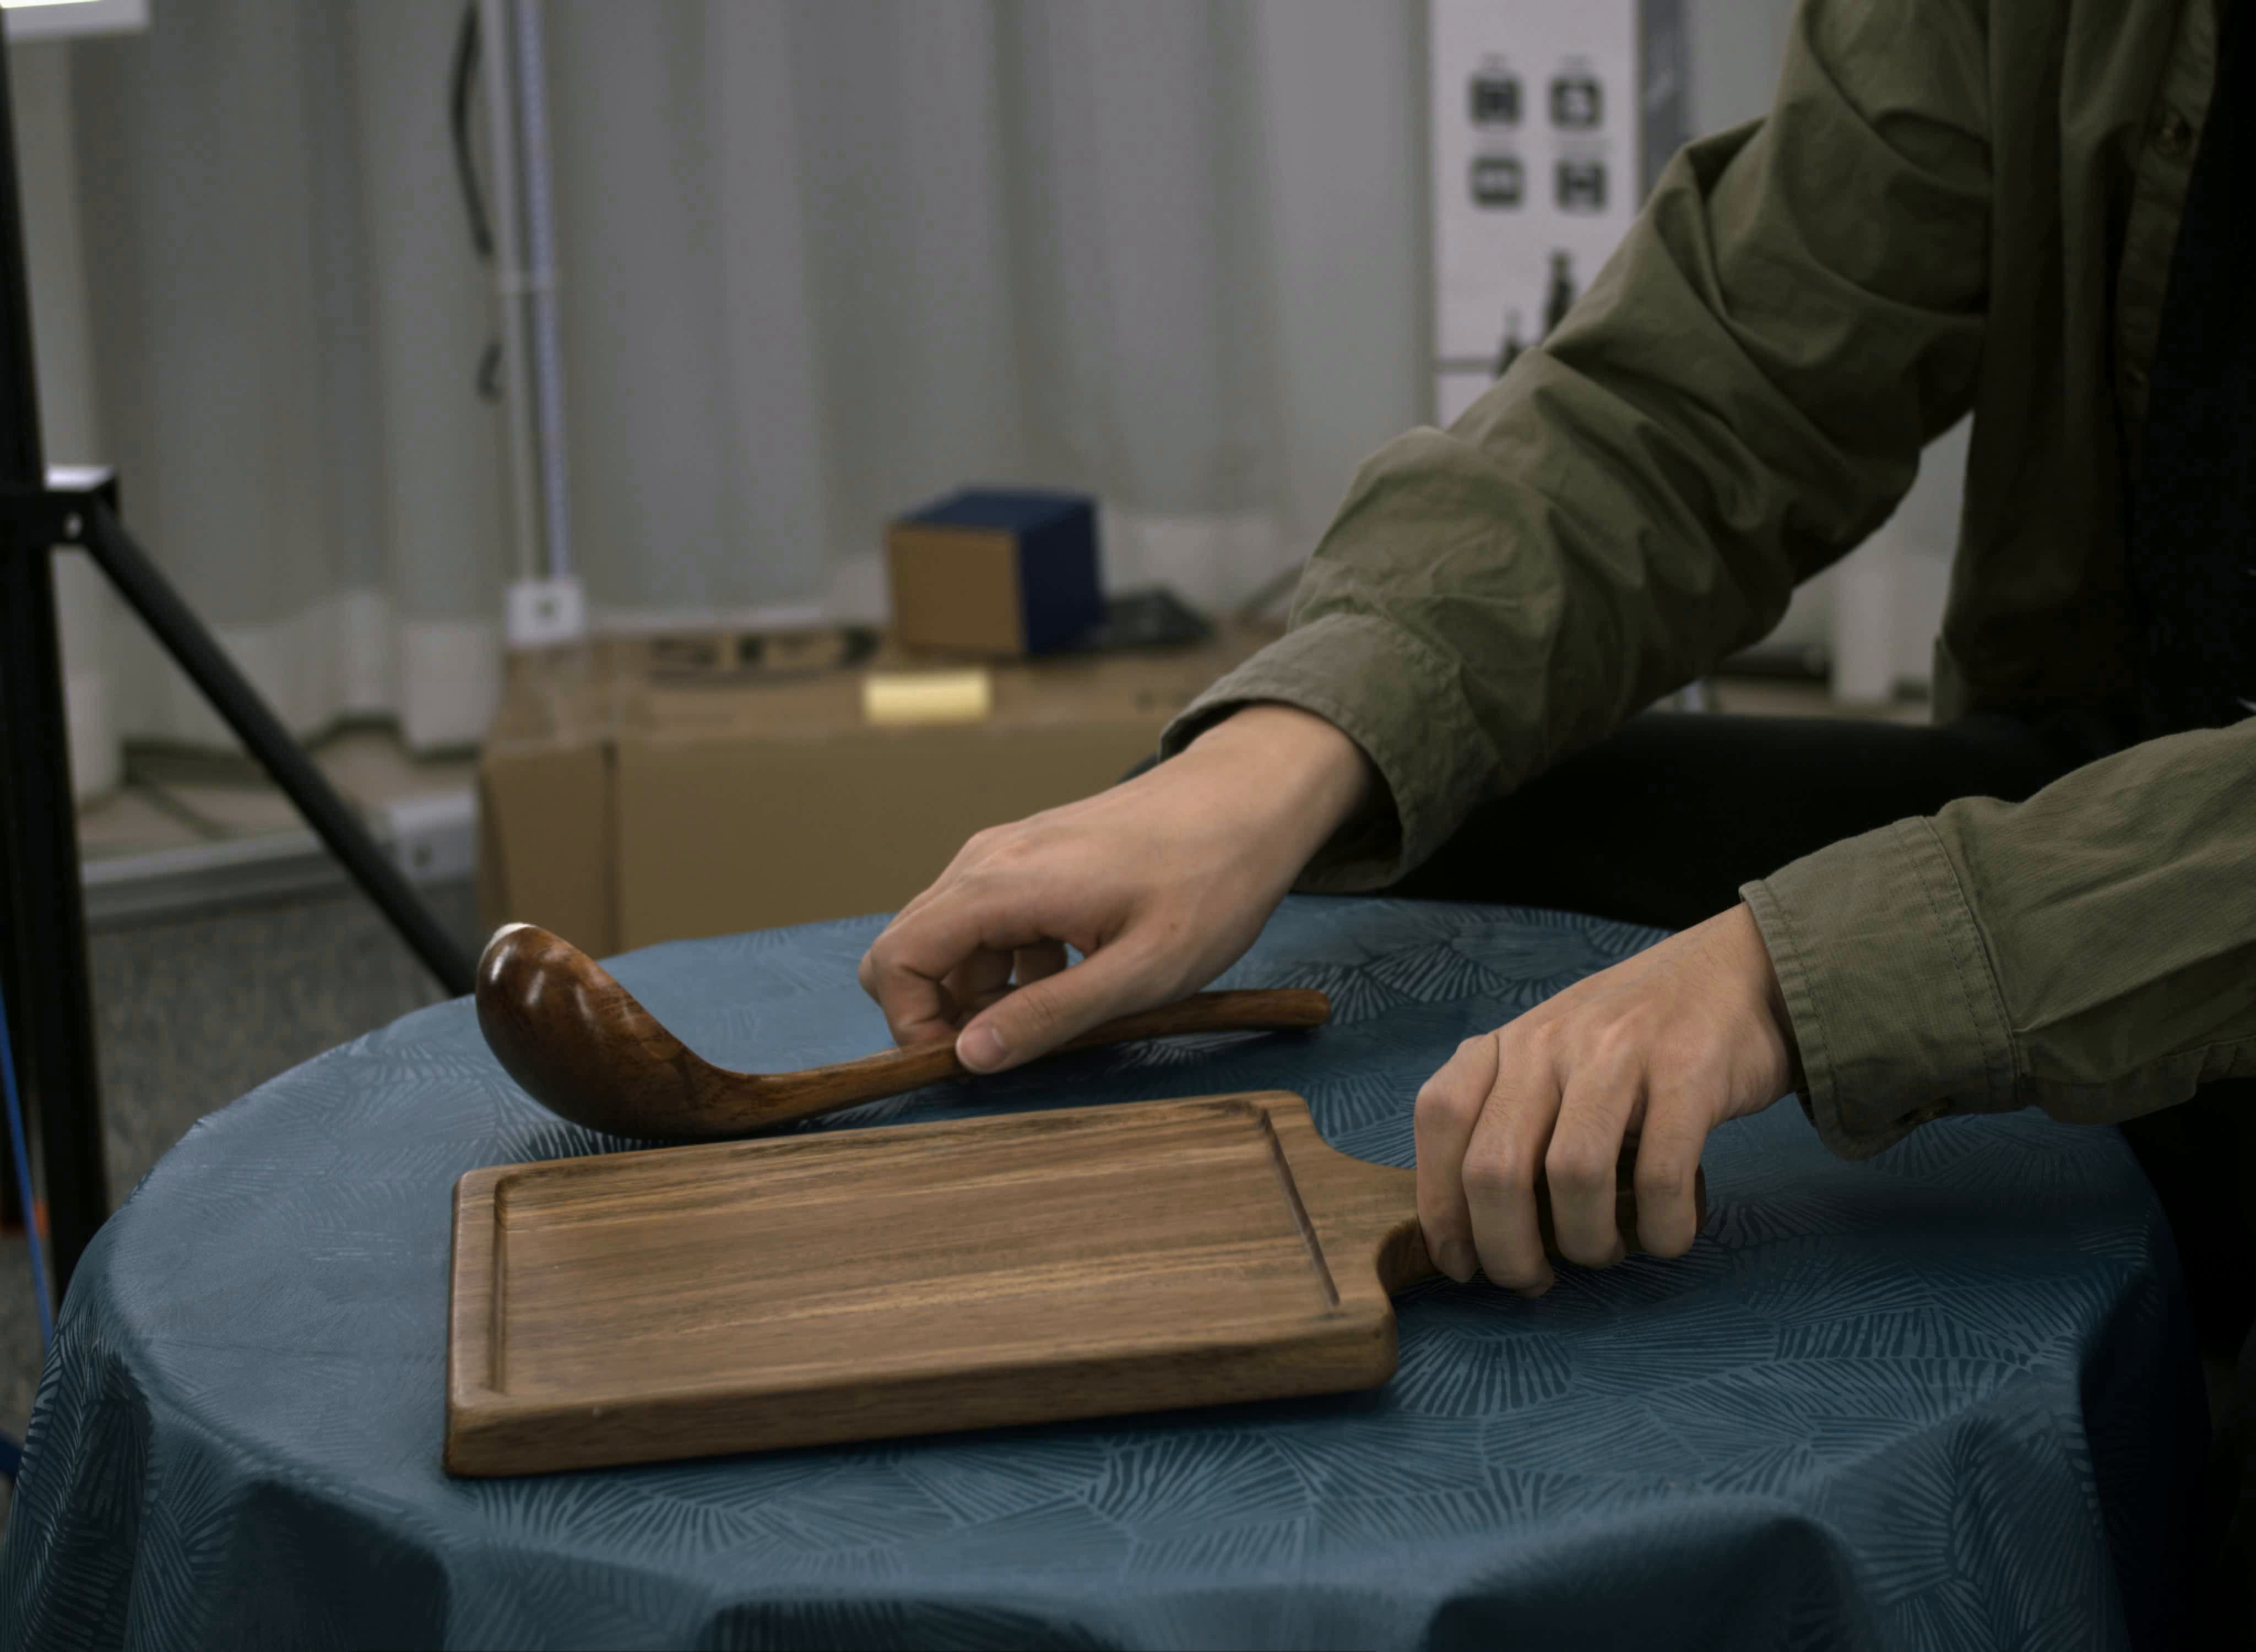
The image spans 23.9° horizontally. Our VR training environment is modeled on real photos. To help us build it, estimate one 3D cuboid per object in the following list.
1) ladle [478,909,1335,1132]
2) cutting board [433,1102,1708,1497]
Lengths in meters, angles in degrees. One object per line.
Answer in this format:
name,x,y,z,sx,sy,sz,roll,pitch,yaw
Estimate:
ladle,-0.067,0.046,1.655,0.269,0.077,0.083,-9,-2,-20
cutting board,-0.014,0.123,1.458,0.350,0.023,0.202,-5,17,-2
